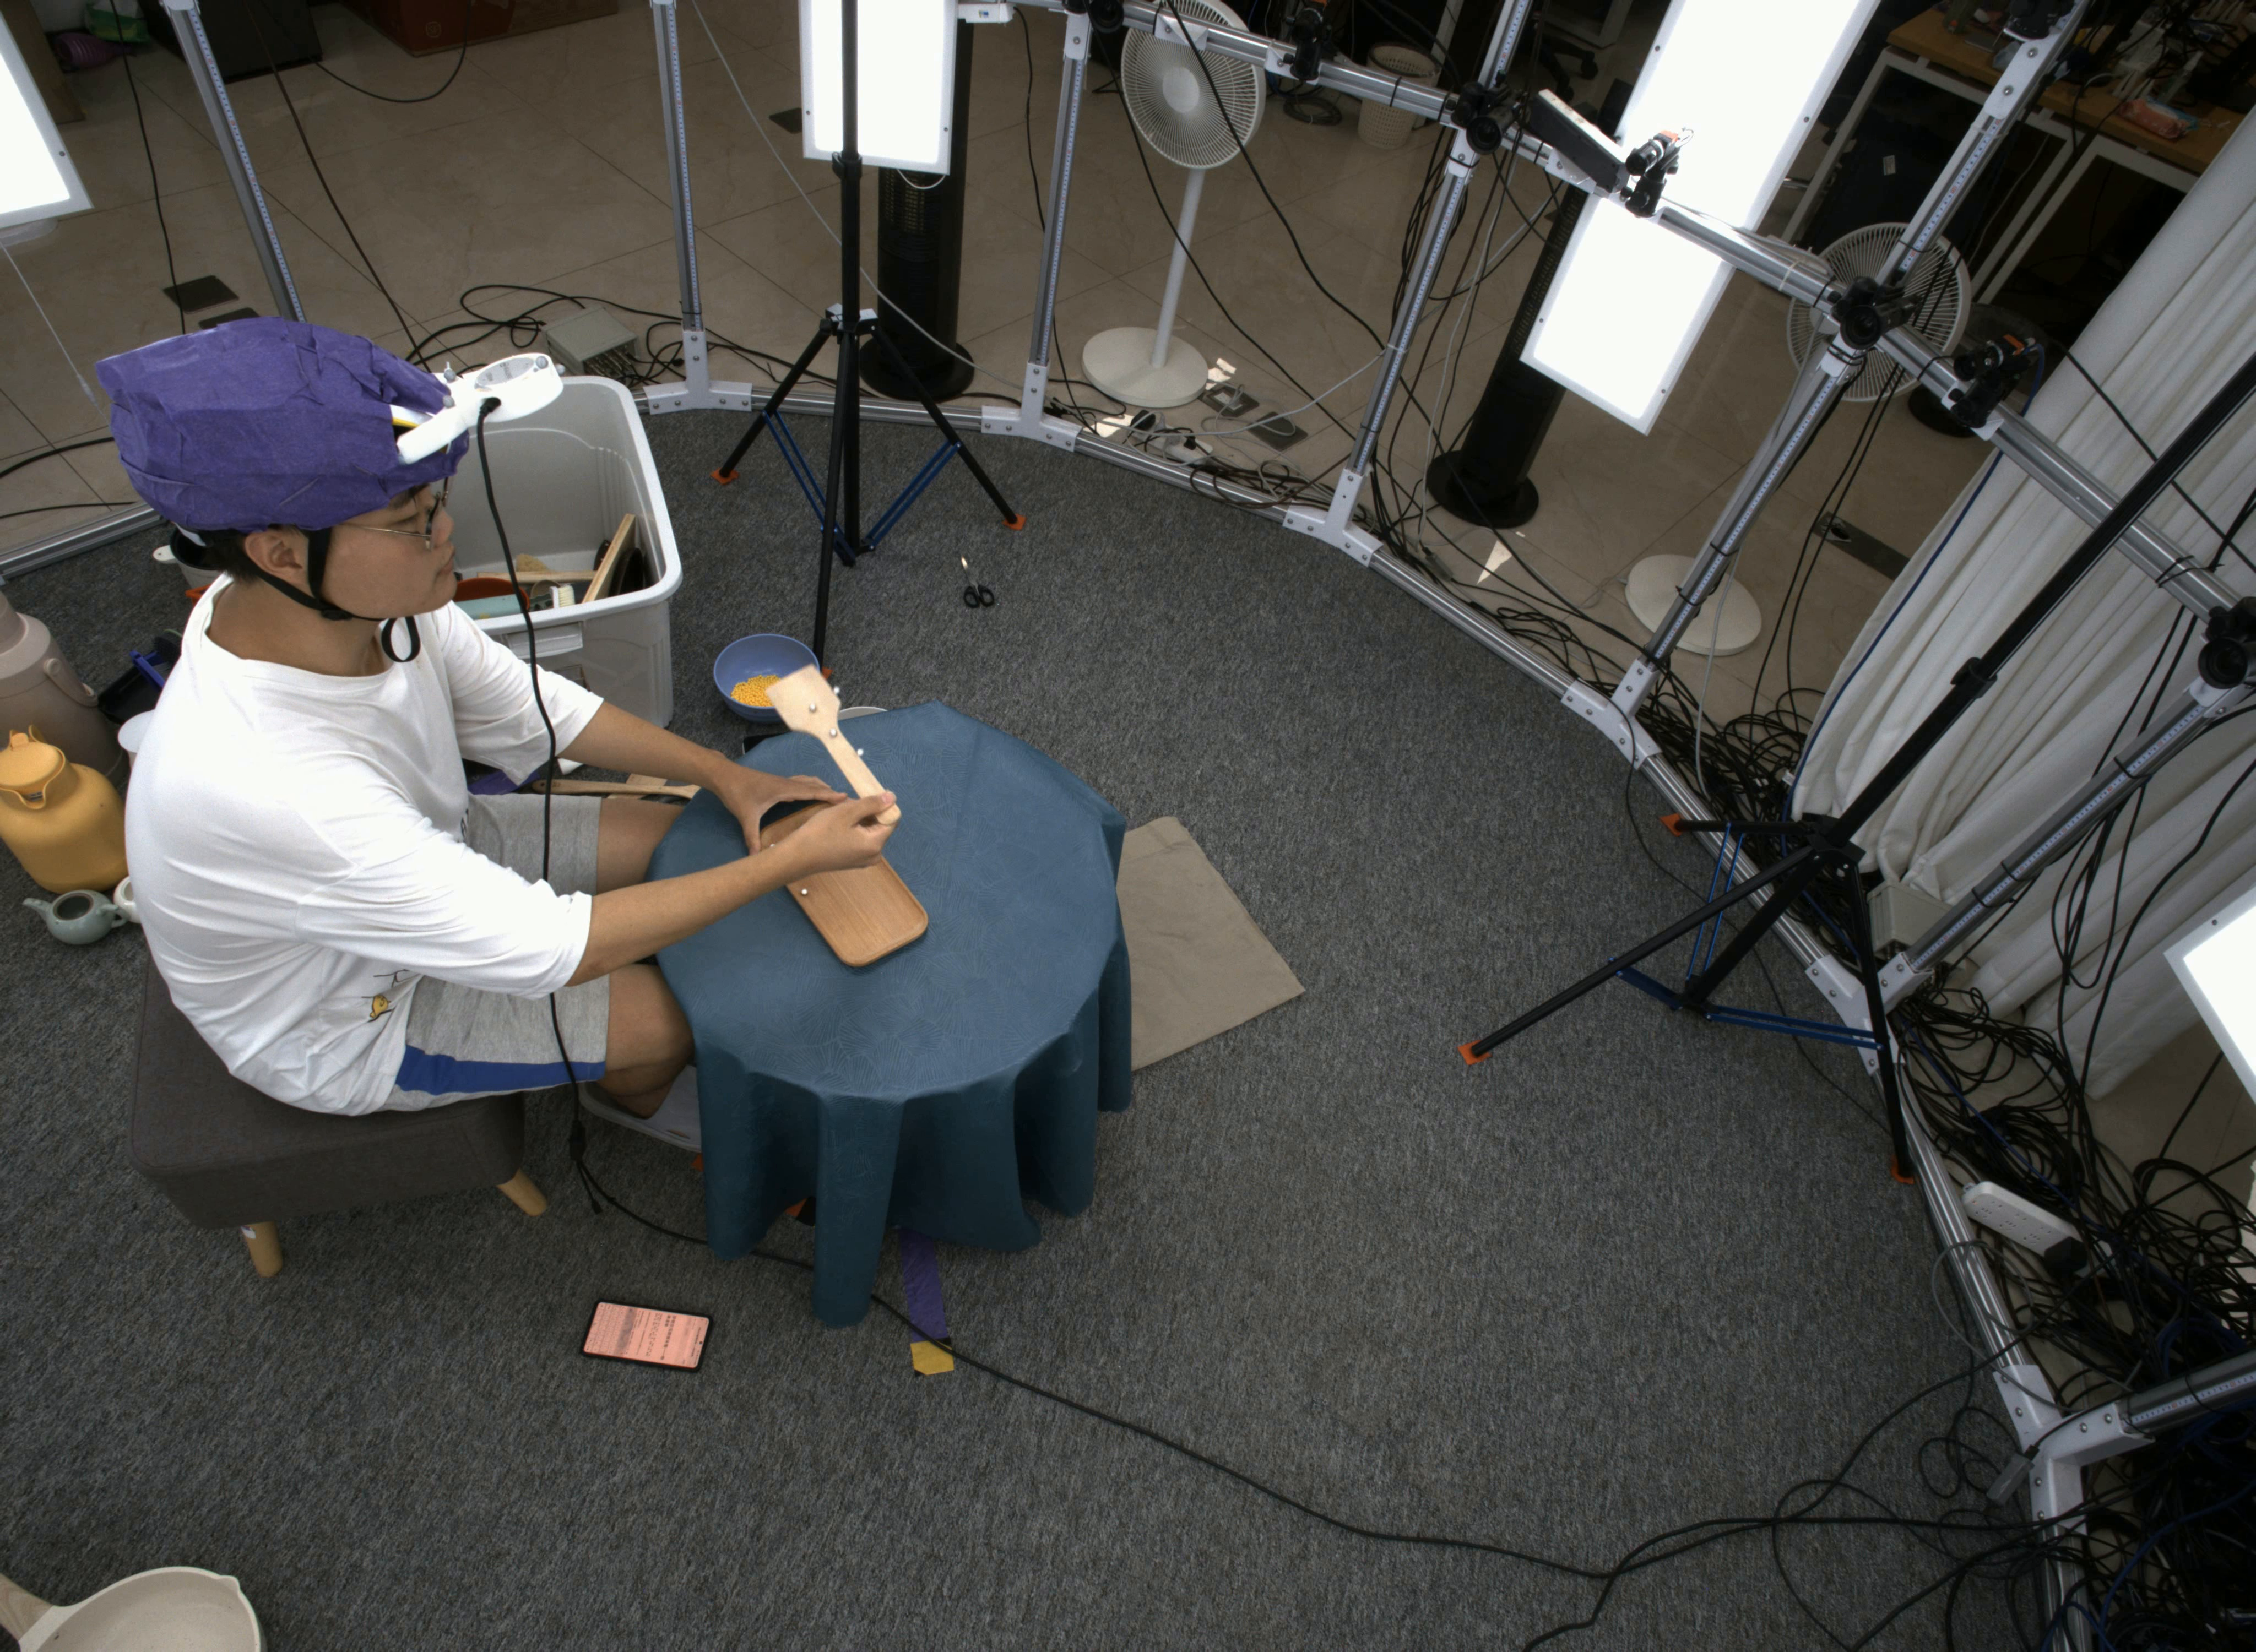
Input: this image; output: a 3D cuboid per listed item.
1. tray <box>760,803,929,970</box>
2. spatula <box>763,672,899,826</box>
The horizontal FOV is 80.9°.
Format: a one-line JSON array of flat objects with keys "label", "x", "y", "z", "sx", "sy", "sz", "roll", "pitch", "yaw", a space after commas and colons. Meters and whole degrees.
[{"label": "tray", "x": -0.369, "y": 0.074, "z": 1.684, "sx": 0.131, "sy": 0.023, "sz": 0.245, "roll": -29, "pitch": 65, "yaw": -27}, {"label": "spatula", "x": -0.342, "y": -0.090, "z": 1.521, "sx": 0.072, "sy": 0.011, "sz": 0.283, "roll": -31, "pitch": 54, "yaw": -17}]
